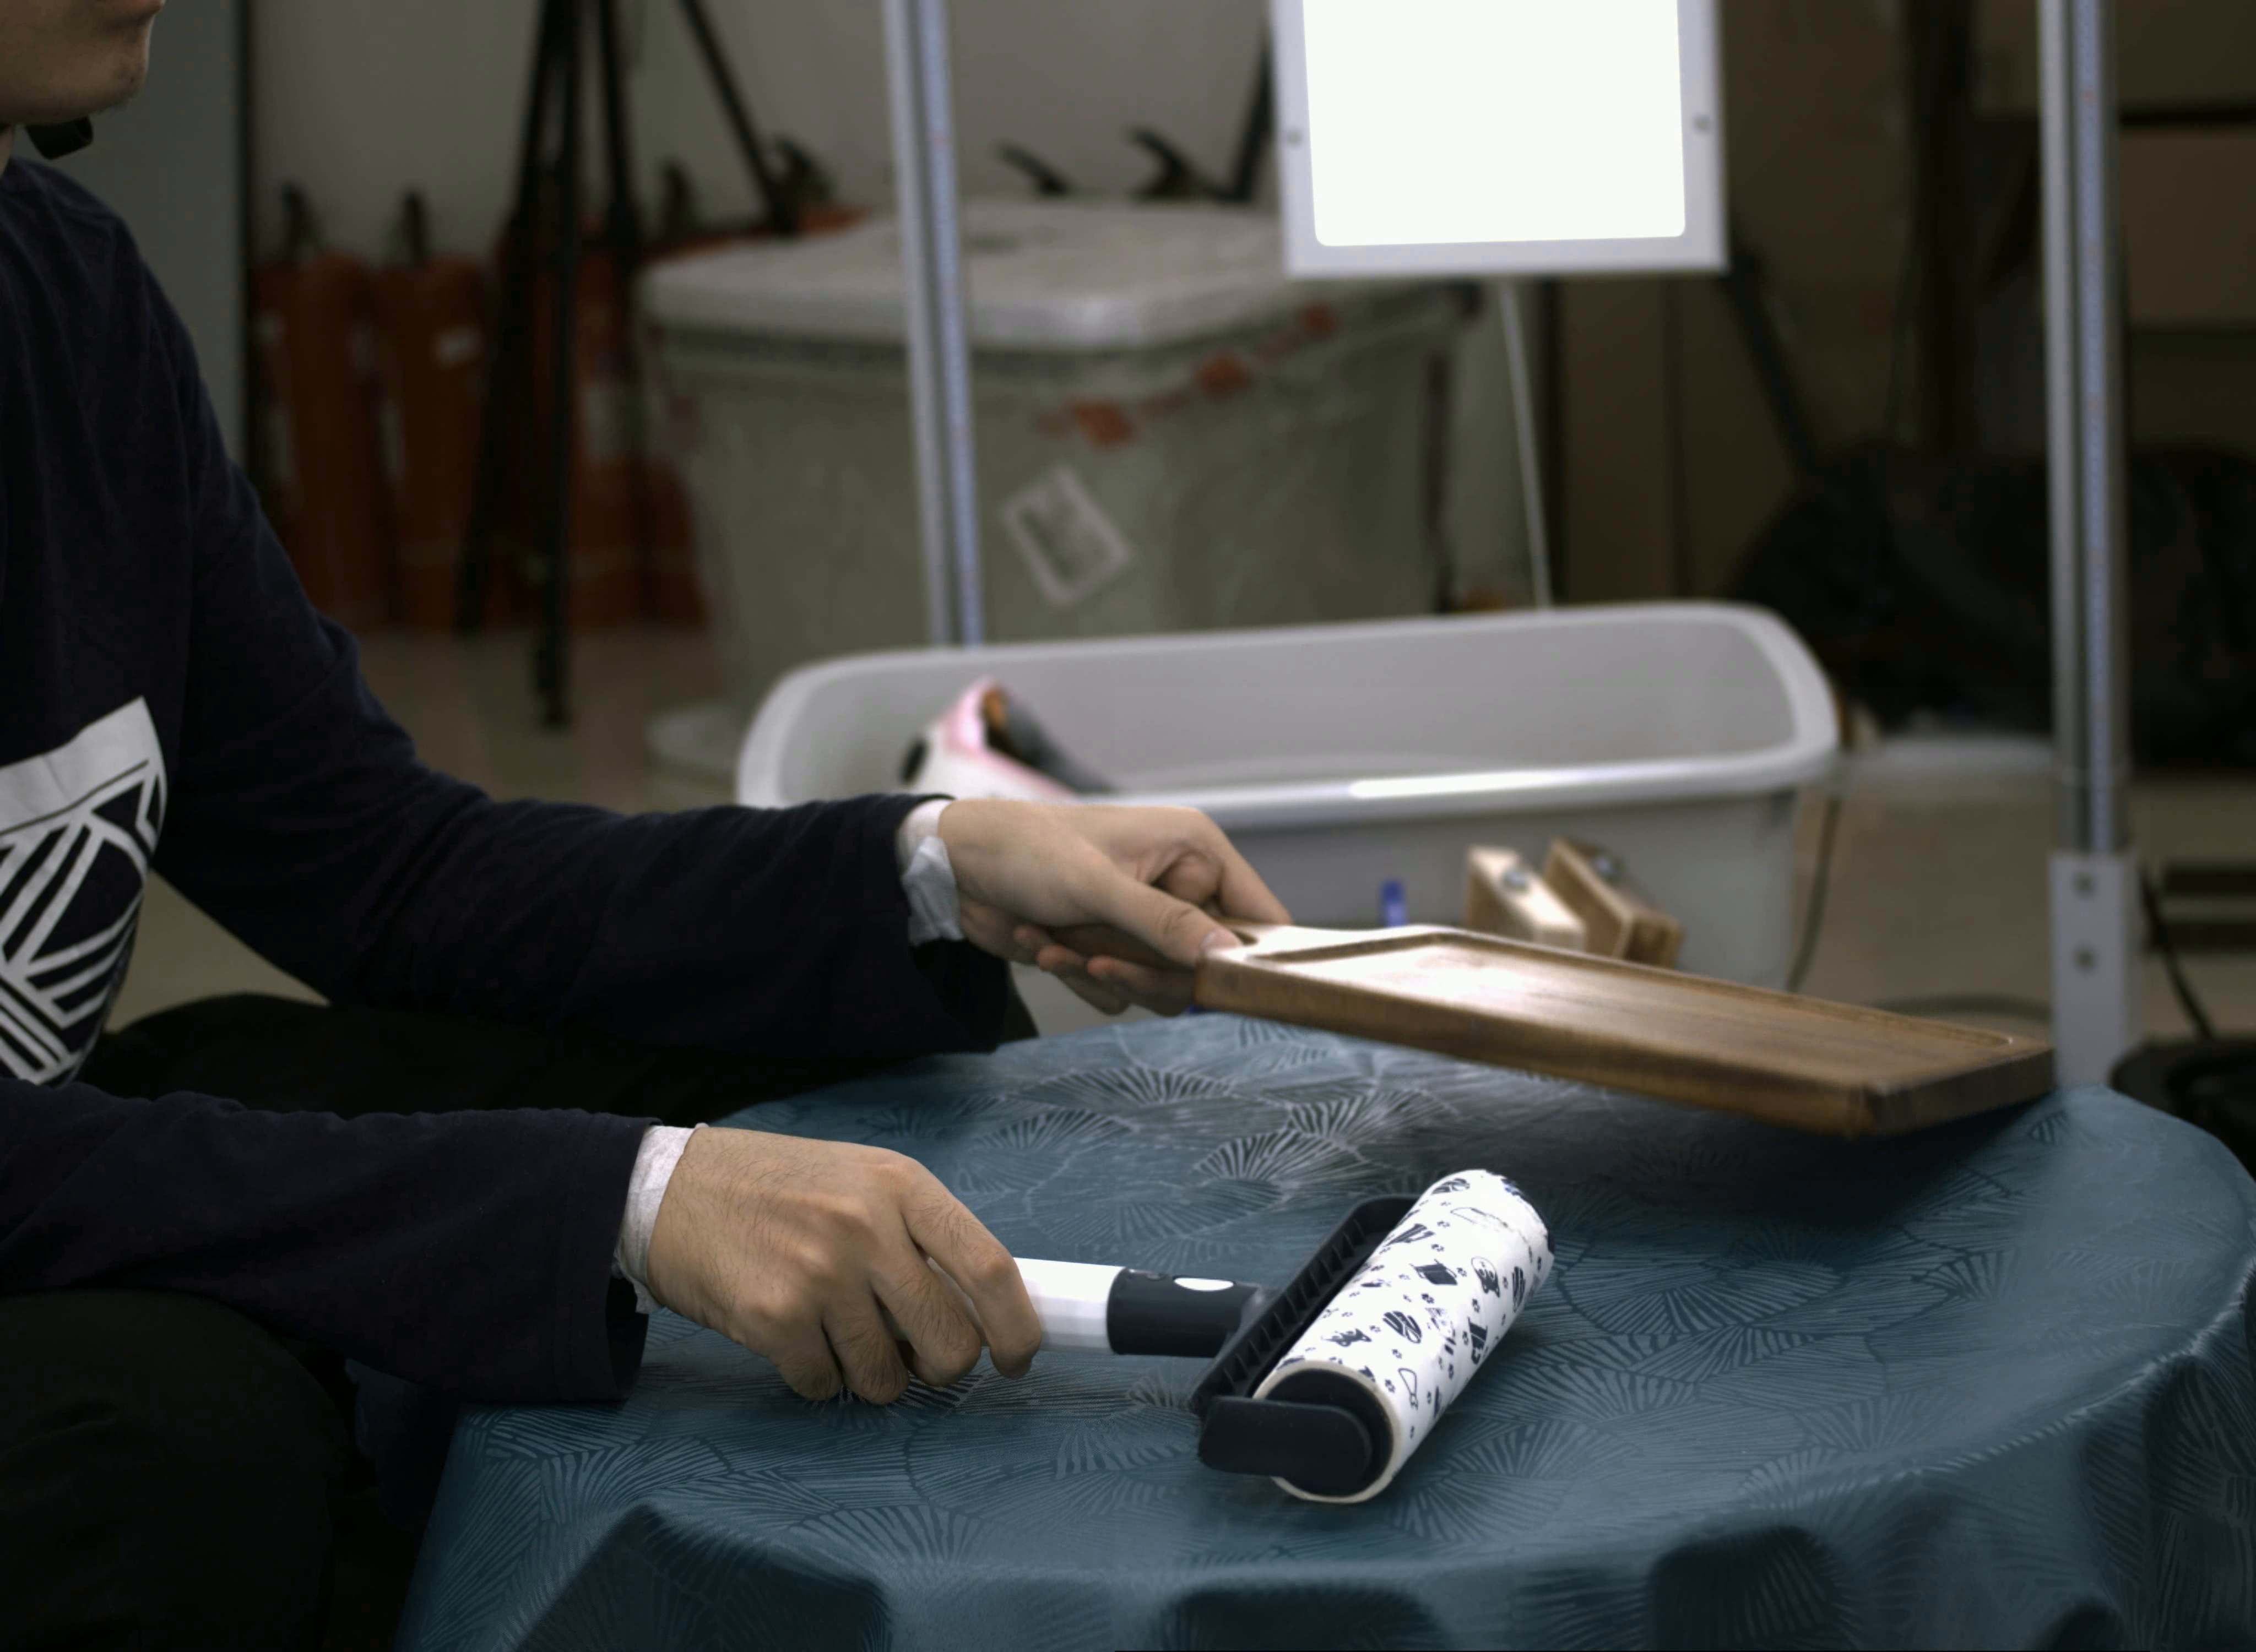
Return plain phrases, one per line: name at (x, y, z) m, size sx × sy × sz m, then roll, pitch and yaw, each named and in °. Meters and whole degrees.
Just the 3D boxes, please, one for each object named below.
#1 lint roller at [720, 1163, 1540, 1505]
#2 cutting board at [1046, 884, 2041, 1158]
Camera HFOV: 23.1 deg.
lint roller at (-0.012, 0.147, 1.694) m, size 0.250 × 0.050 × 0.173 m, roll 3°, pitch 19°, yaw 21°
cutting board at (0.130, 0.061, 1.923) m, size 0.358 × 0.023 × 0.197 m, roll 11°, pitch 9°, yaw 28°
